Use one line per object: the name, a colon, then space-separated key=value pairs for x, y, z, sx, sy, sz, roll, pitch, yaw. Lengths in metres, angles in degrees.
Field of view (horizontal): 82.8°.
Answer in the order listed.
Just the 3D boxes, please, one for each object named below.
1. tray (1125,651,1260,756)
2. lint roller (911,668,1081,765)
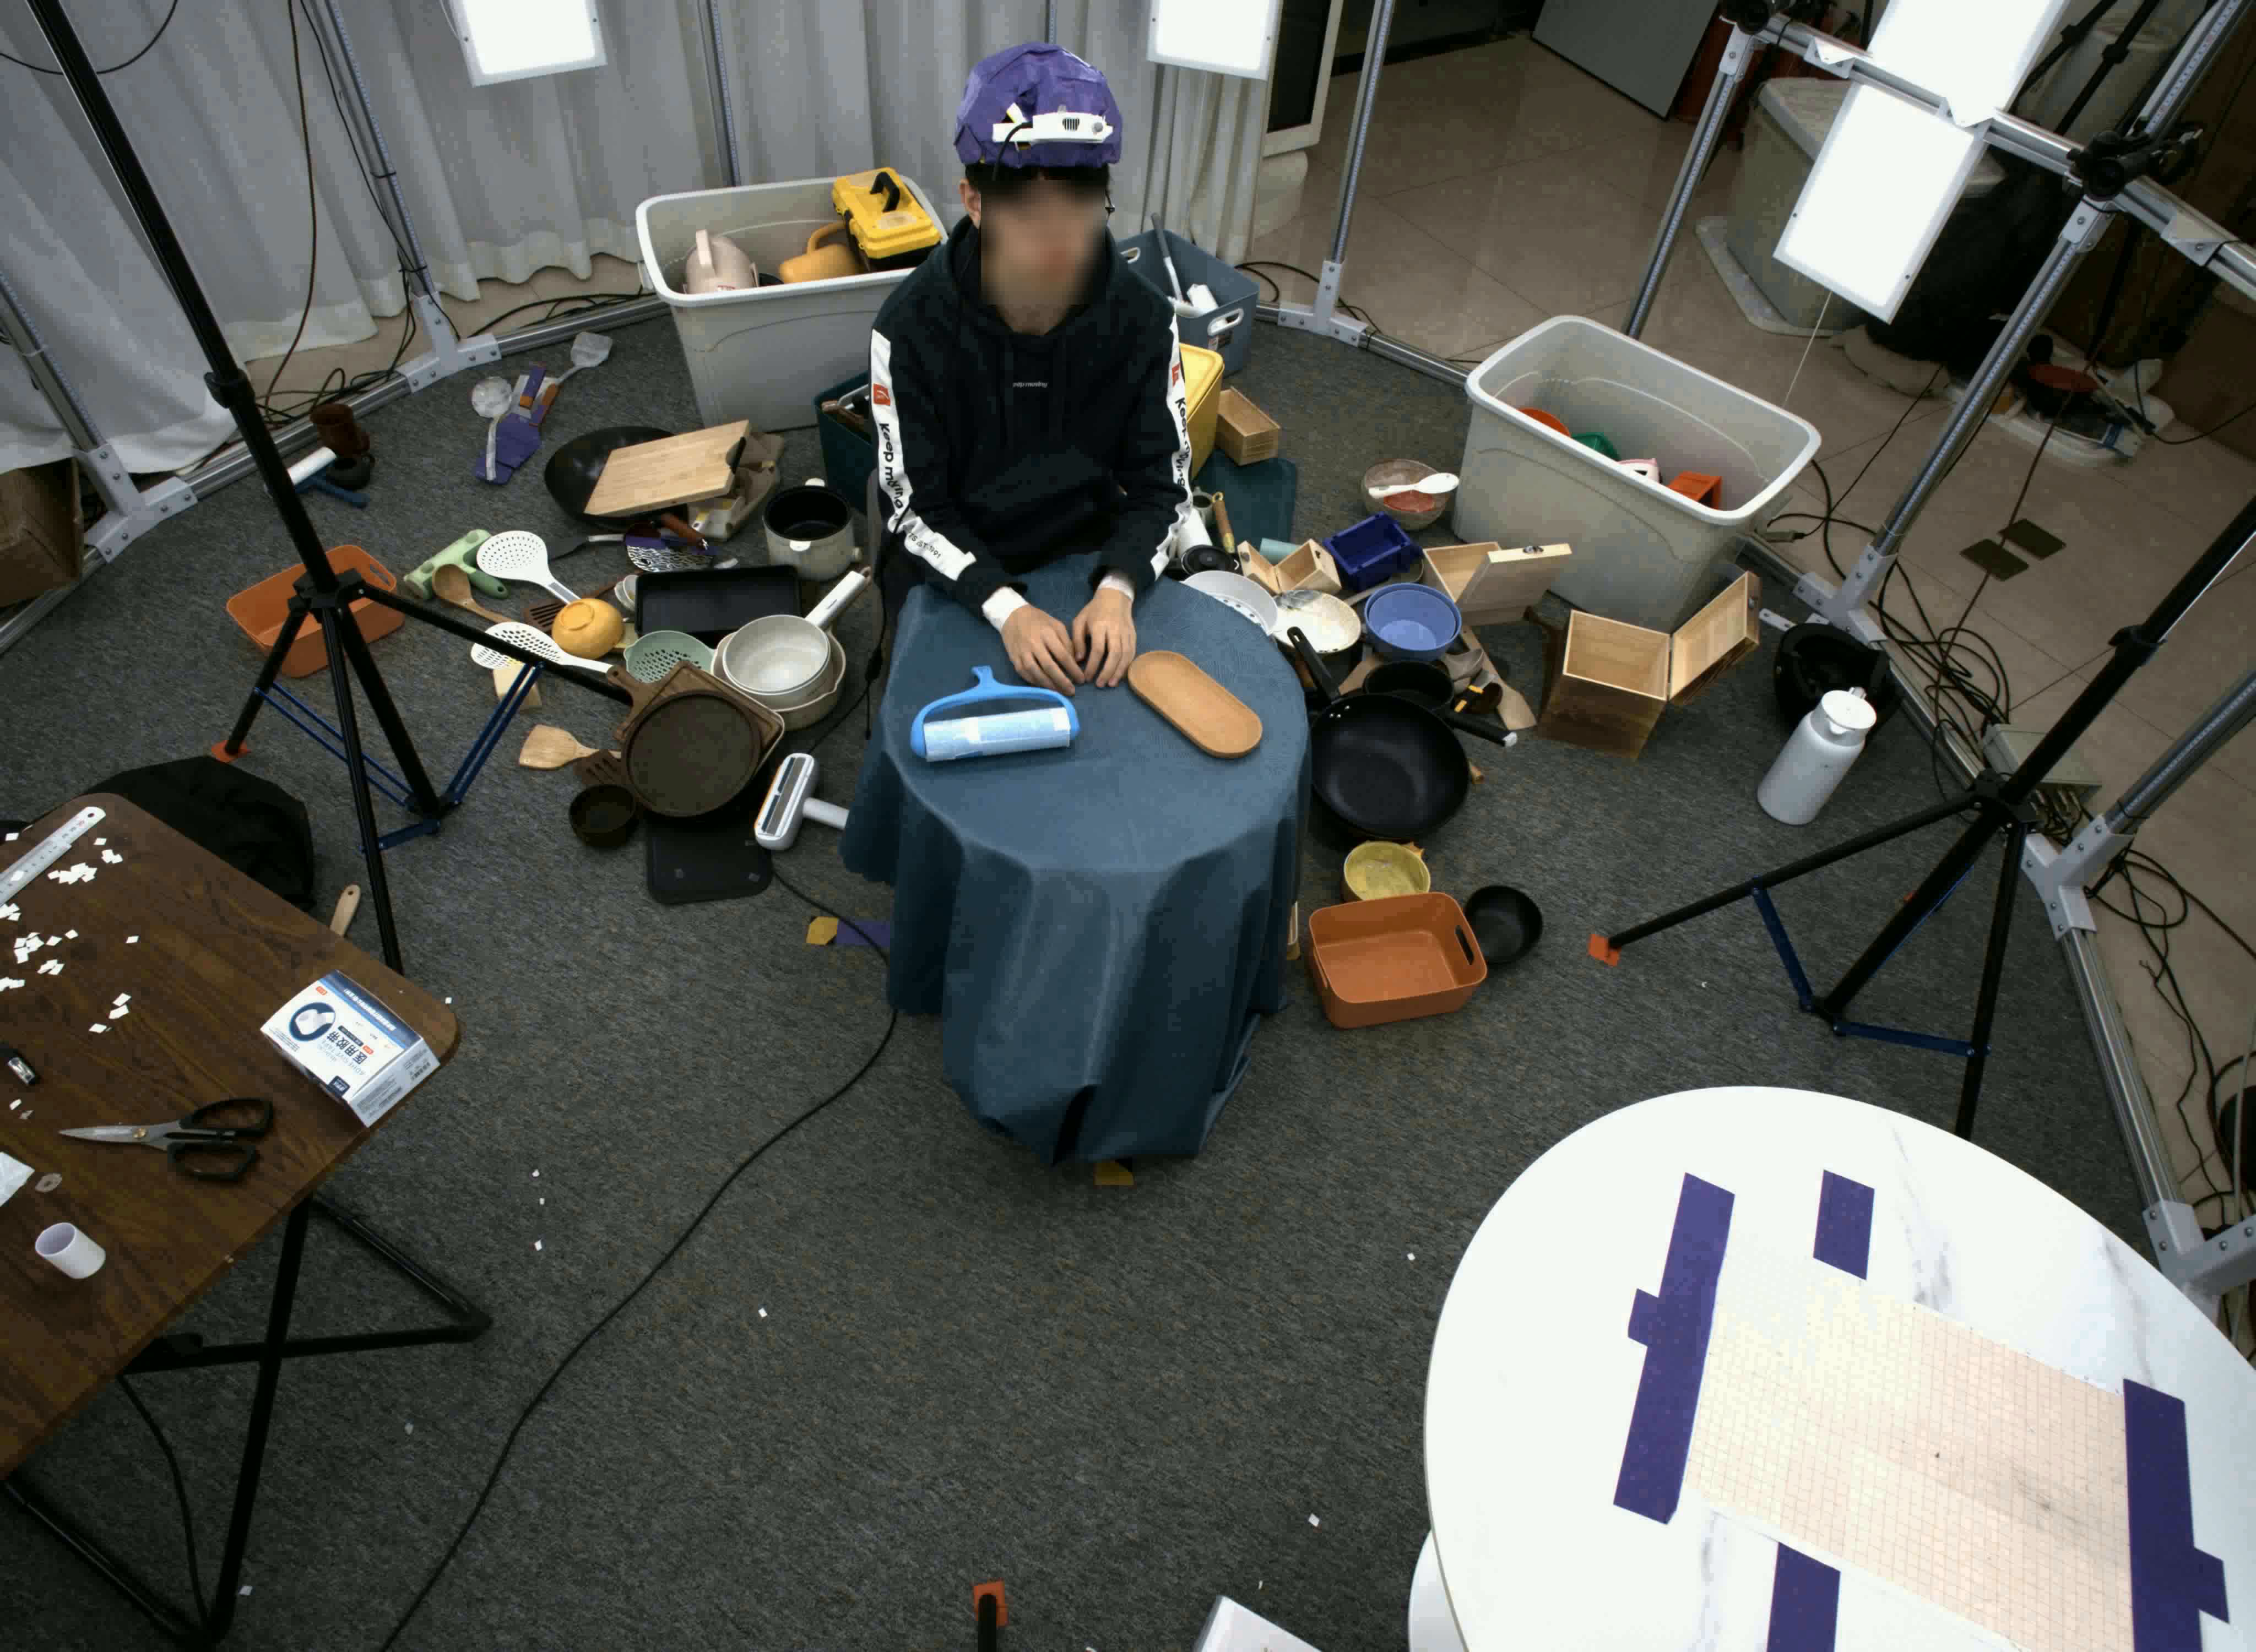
tray: x=0.090 y=-0.175 z=1.815 sx=0.102 sy=0.020 sz=0.235 roll=-32 pitch=56 yaw=-28
lint roller: x=-0.191 y=-0.169 z=1.764 sx=0.229 sy=0.066 sz=0.185 roll=-11 pitch=52 yaw=-10
